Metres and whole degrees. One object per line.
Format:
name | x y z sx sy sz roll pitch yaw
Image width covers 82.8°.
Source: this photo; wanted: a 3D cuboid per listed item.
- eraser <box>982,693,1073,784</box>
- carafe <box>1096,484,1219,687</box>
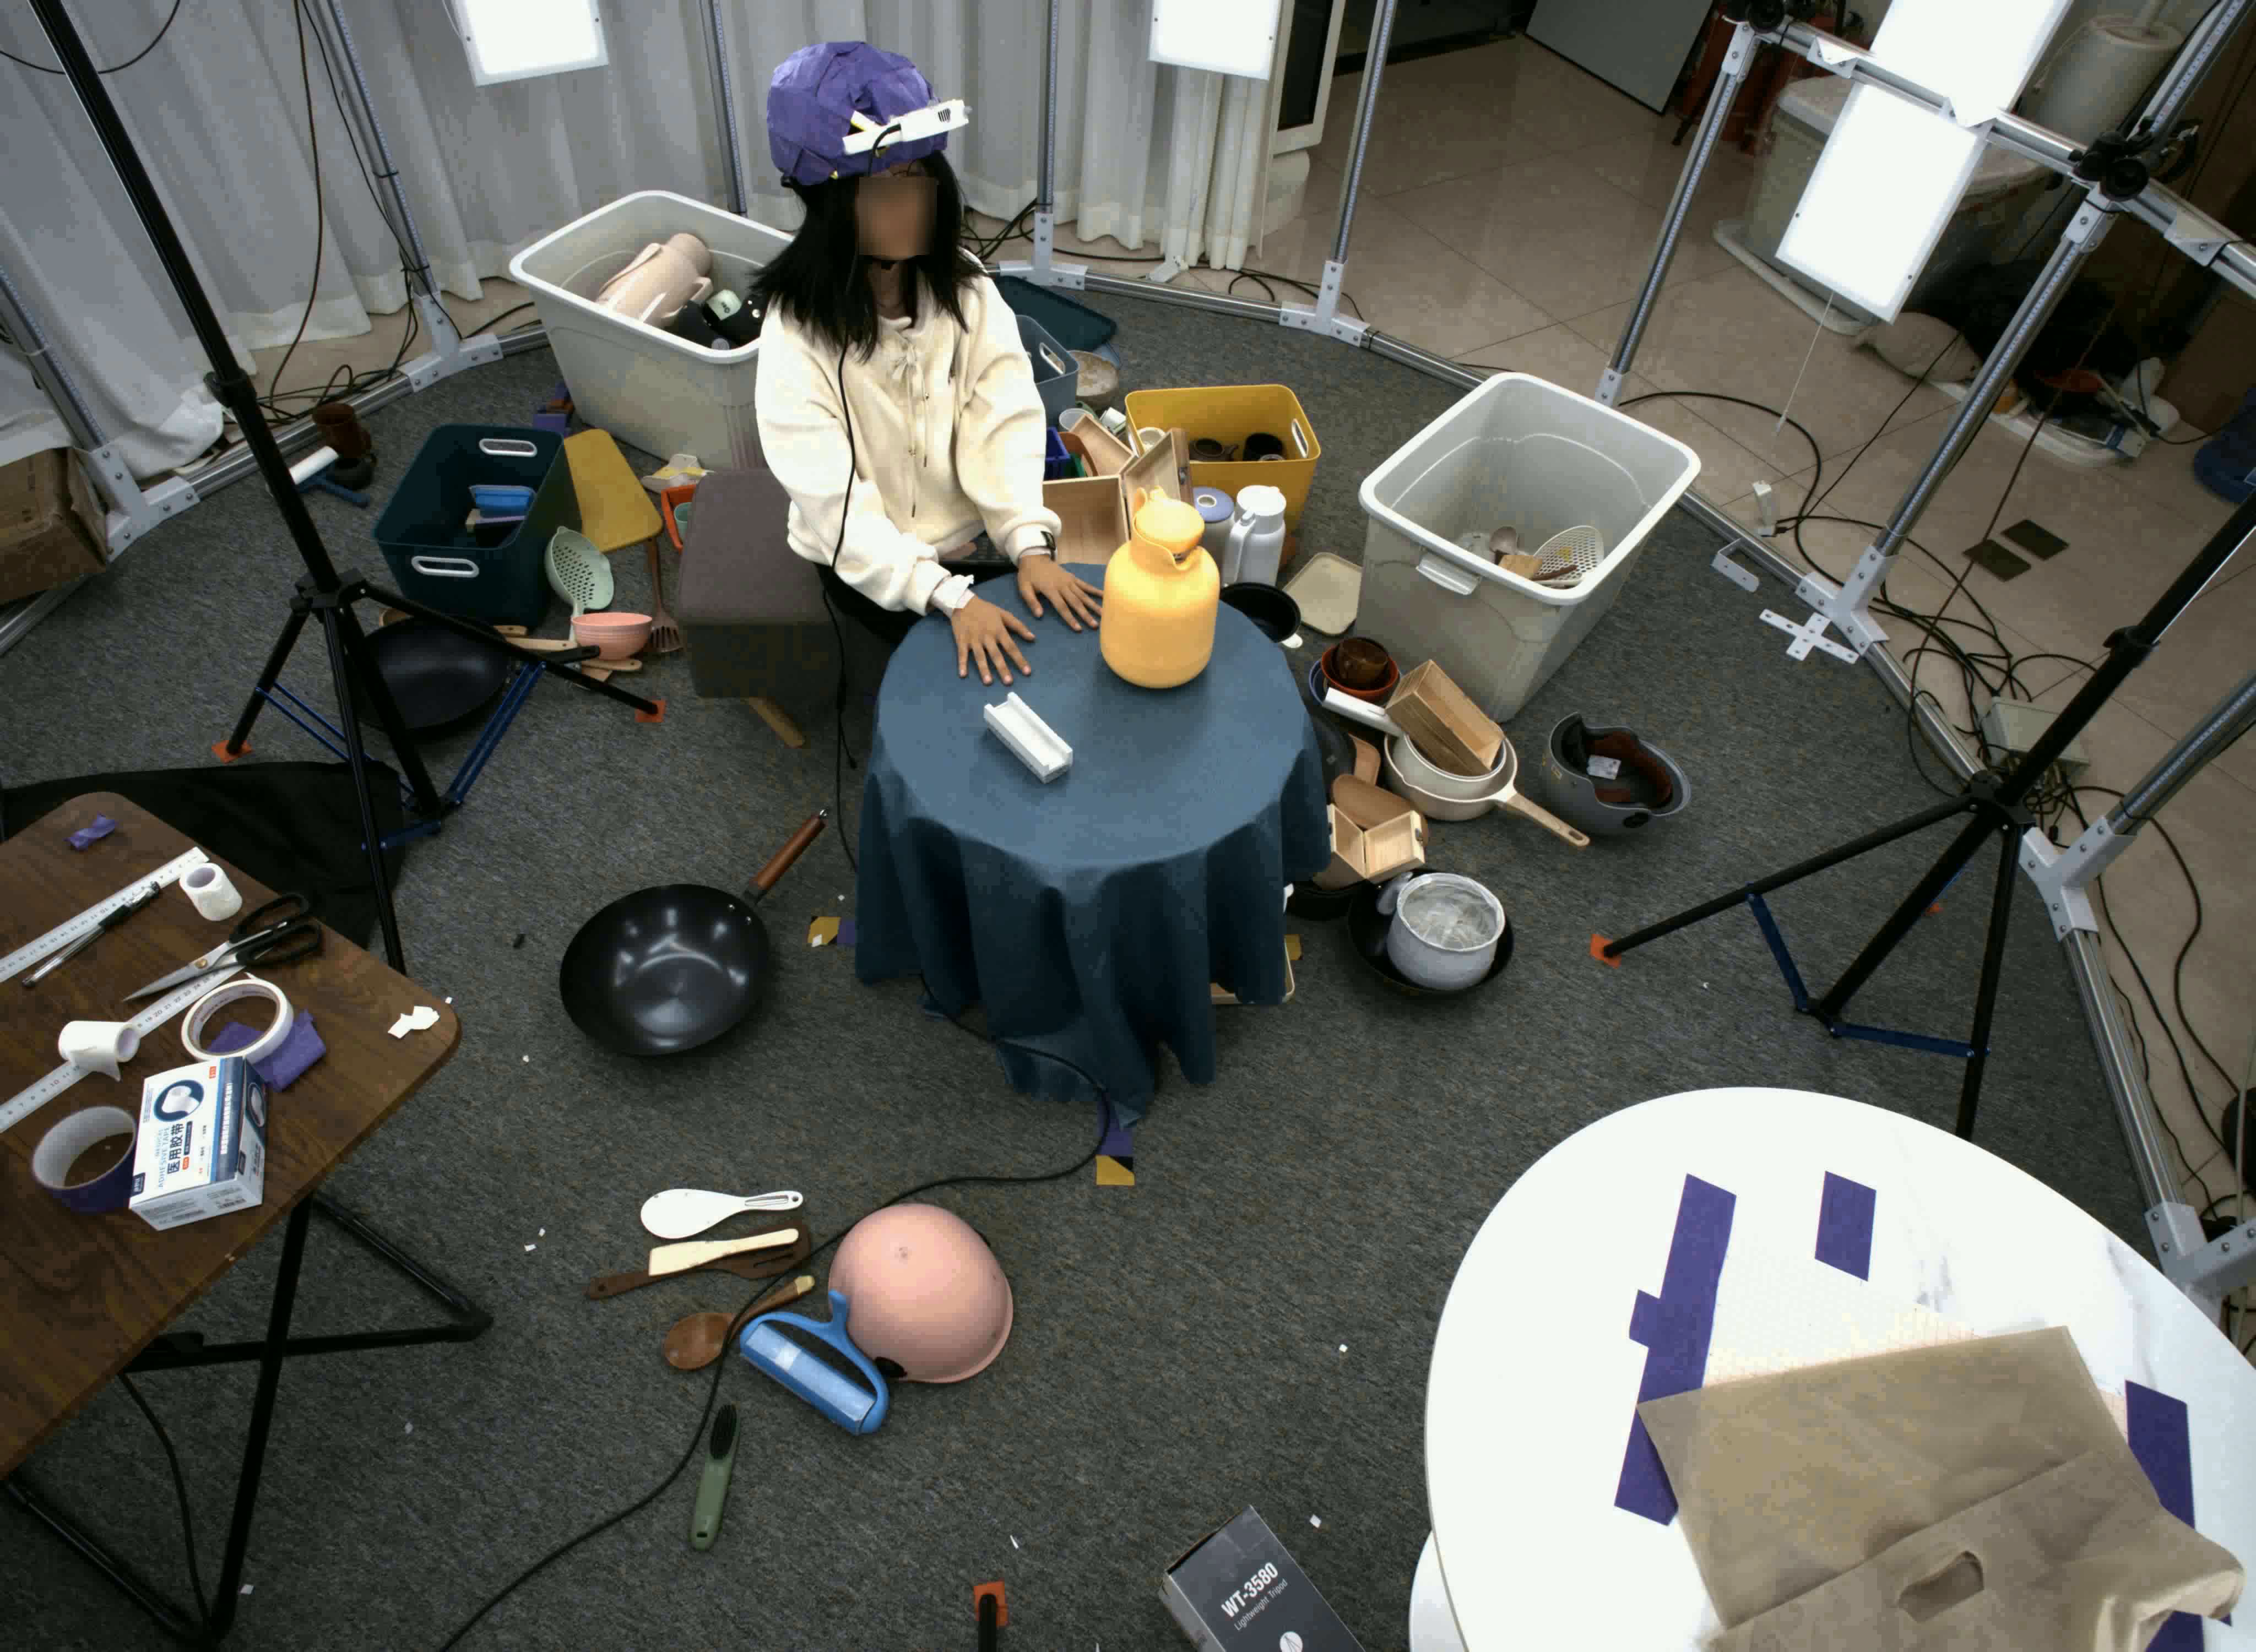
eraser | -0.136 -0.119 1.734 0.050 0.045 0.136 -34 60 -25
carafe | 0.041 -0.343 1.800 0.163 0.254 0.207 -5 51 -13
